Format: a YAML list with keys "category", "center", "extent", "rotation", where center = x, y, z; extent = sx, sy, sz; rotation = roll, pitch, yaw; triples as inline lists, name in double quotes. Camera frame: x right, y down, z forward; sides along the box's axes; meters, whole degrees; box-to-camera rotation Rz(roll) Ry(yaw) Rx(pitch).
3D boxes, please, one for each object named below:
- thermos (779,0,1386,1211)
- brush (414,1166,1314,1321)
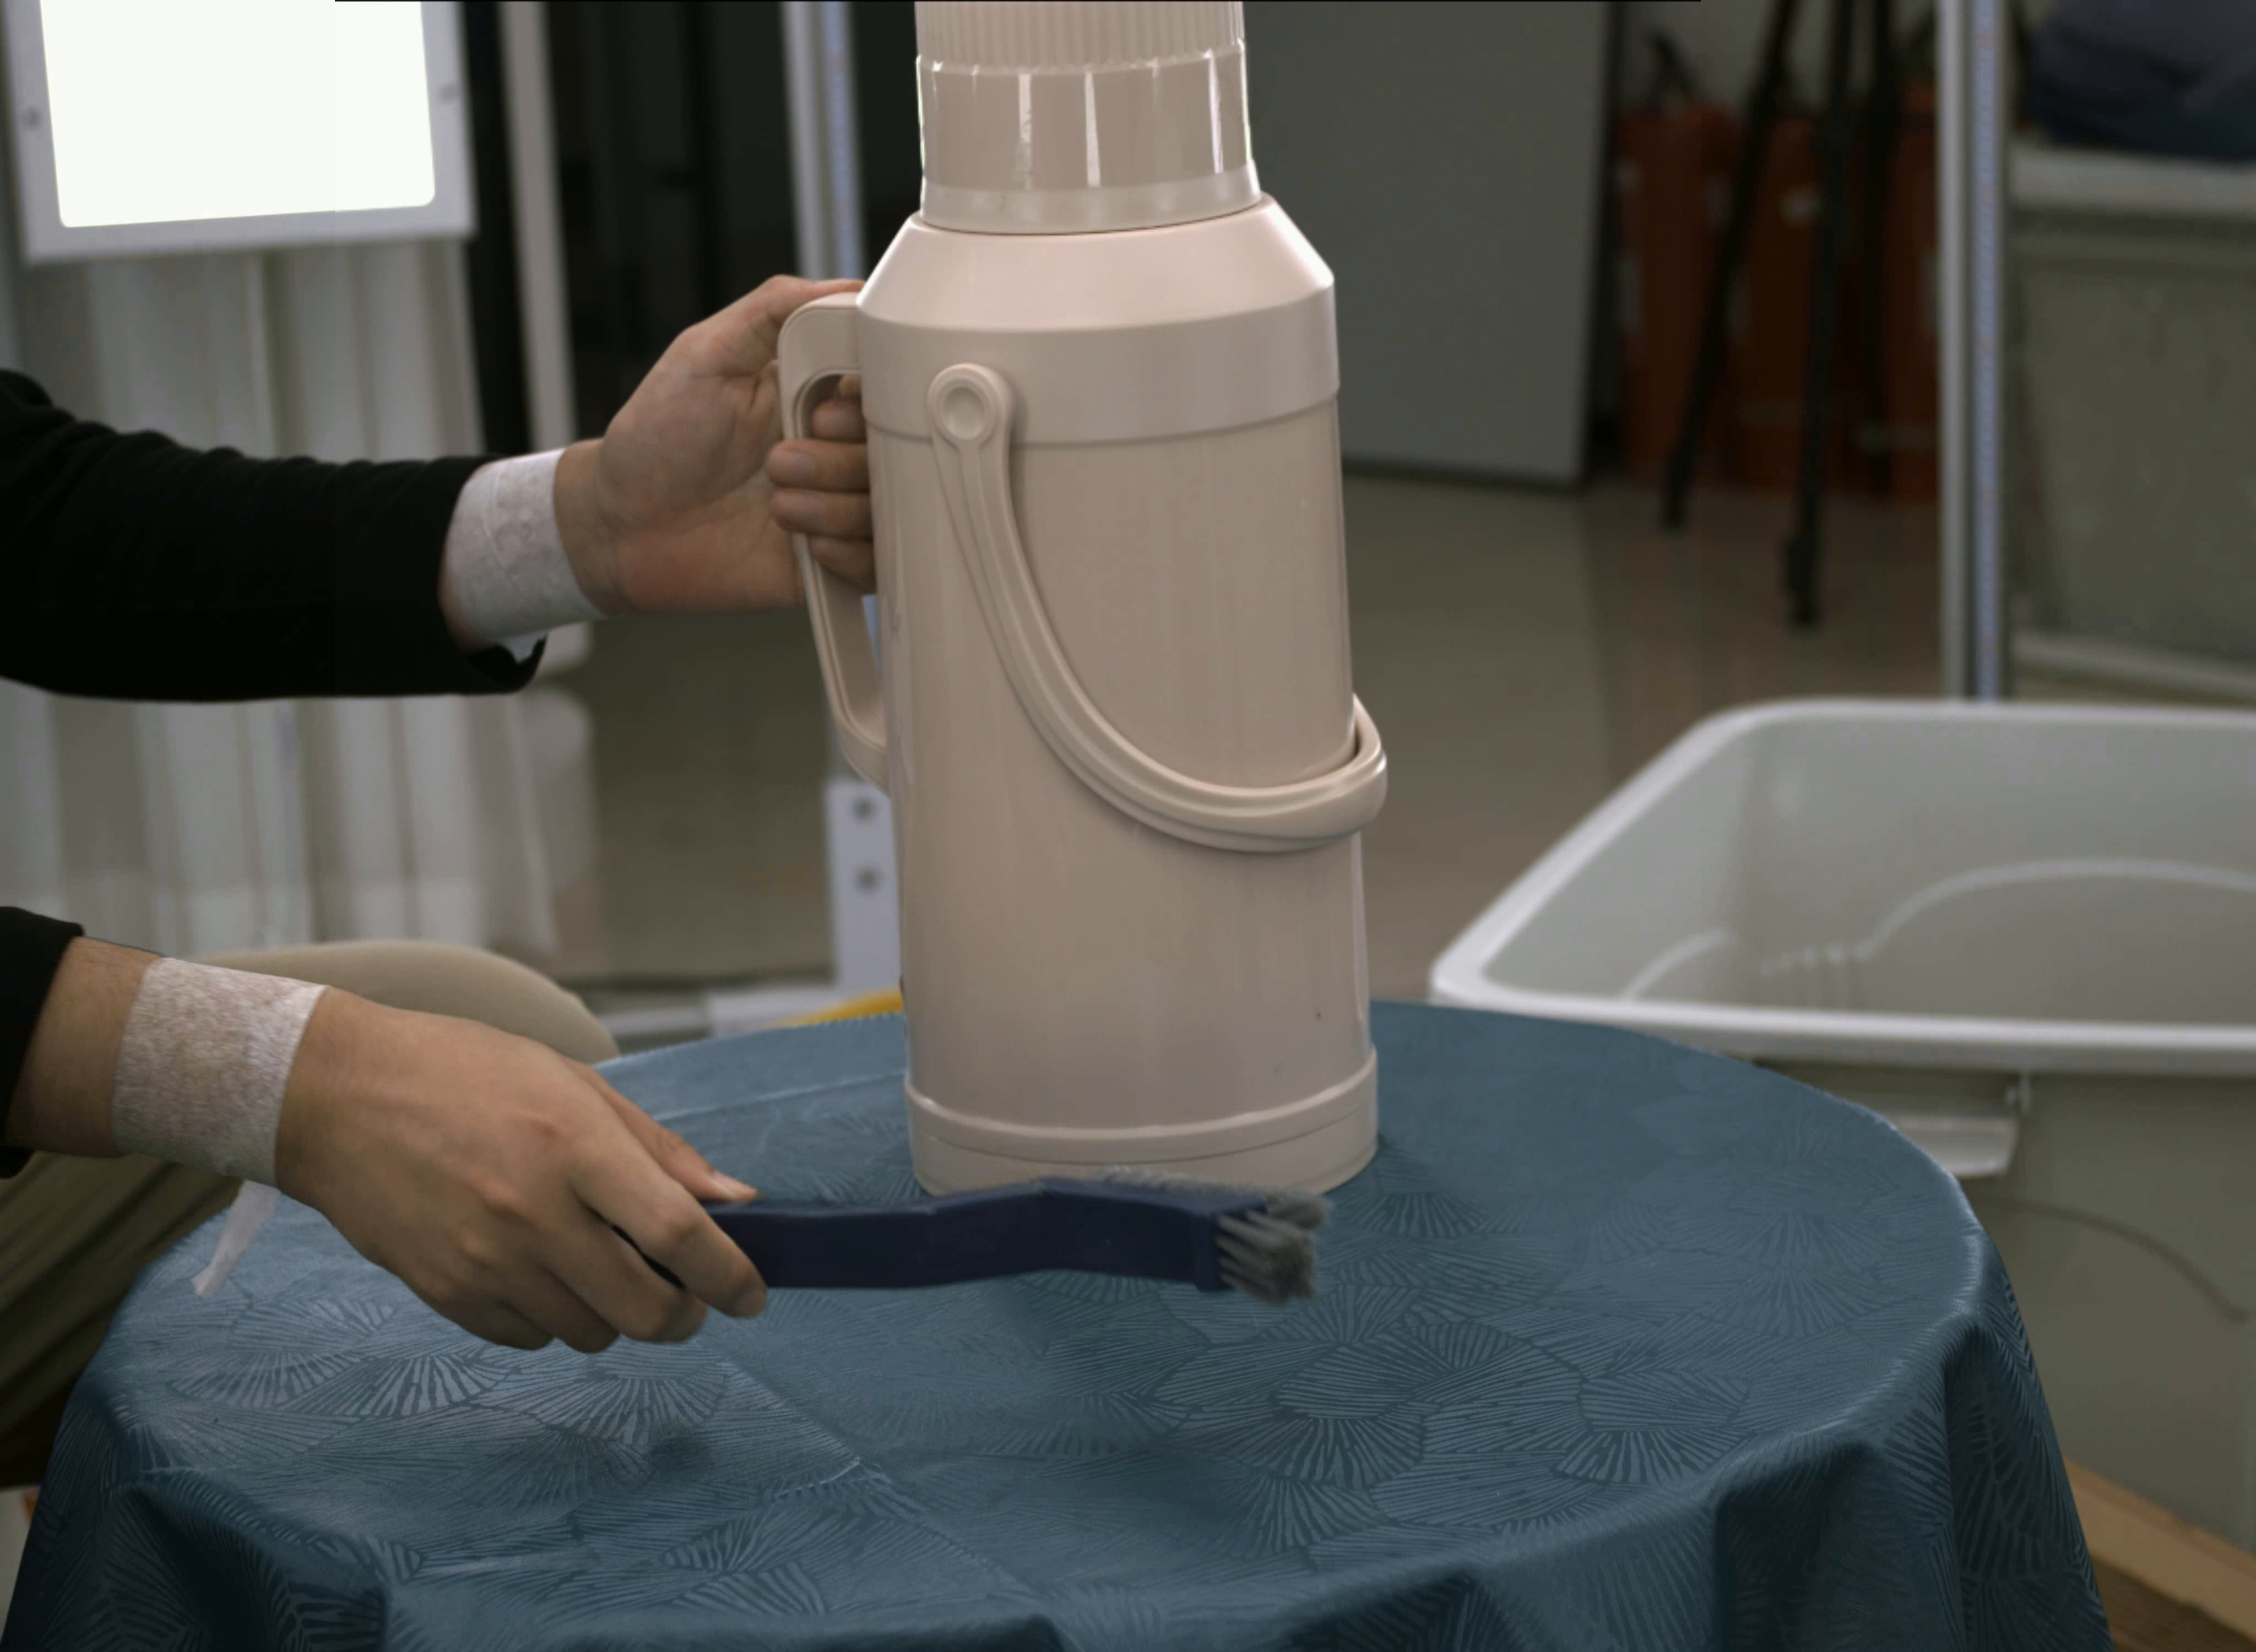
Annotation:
- category: "thermos"
  center: [-0.017, -0.084, 1.771]
  extent: [0.208, 0.411, 0.173]
  rotation: [4, 17, 29]
- category: "brush"
  center: [-0.082, 0.117, 1.536]
  extent: [0.271, 0.034, 0.095]
  rotation: [-3, 13, 13]
